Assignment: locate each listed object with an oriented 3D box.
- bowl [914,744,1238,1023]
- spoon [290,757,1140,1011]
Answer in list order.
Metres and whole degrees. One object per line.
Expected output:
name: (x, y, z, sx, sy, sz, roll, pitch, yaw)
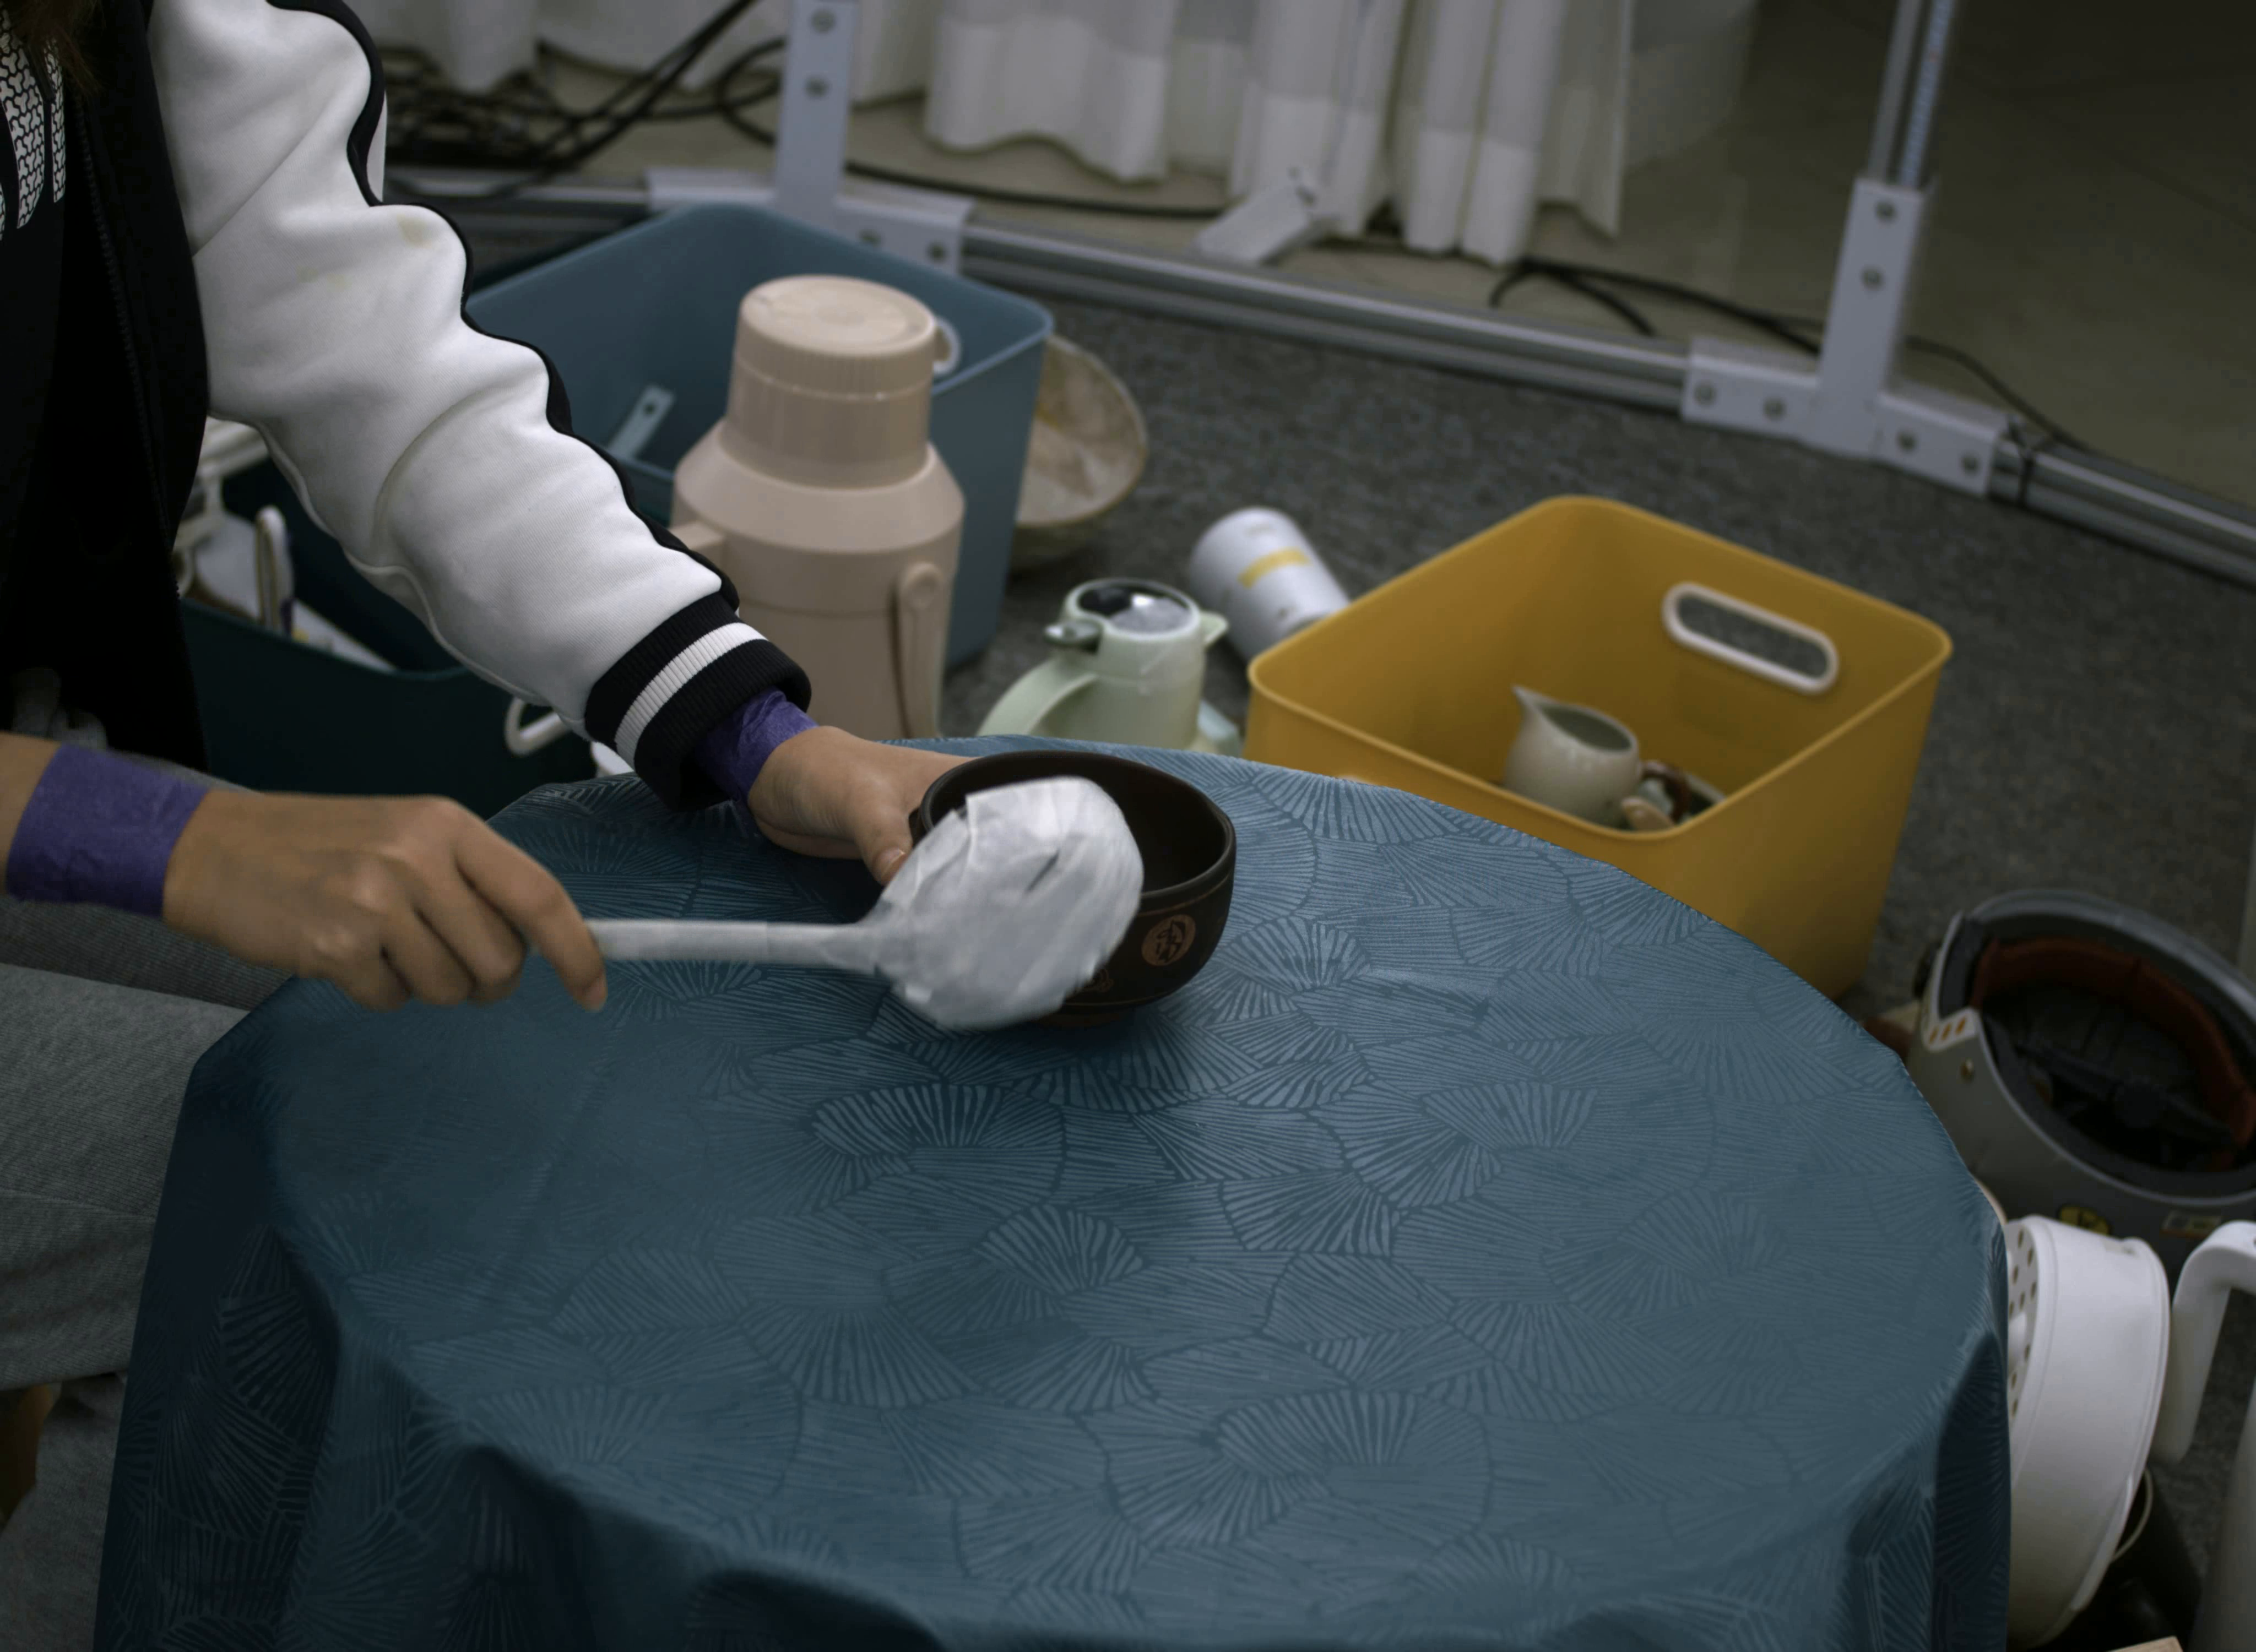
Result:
bowl: (-0.022, 0.027, 1.906, 0.117, 0.069, 0.119, 5, 26, -3)
spoon: (-0.135, 0.023, 1.743, 0.277, 0.100, 0.060, 0, 35, 12)
